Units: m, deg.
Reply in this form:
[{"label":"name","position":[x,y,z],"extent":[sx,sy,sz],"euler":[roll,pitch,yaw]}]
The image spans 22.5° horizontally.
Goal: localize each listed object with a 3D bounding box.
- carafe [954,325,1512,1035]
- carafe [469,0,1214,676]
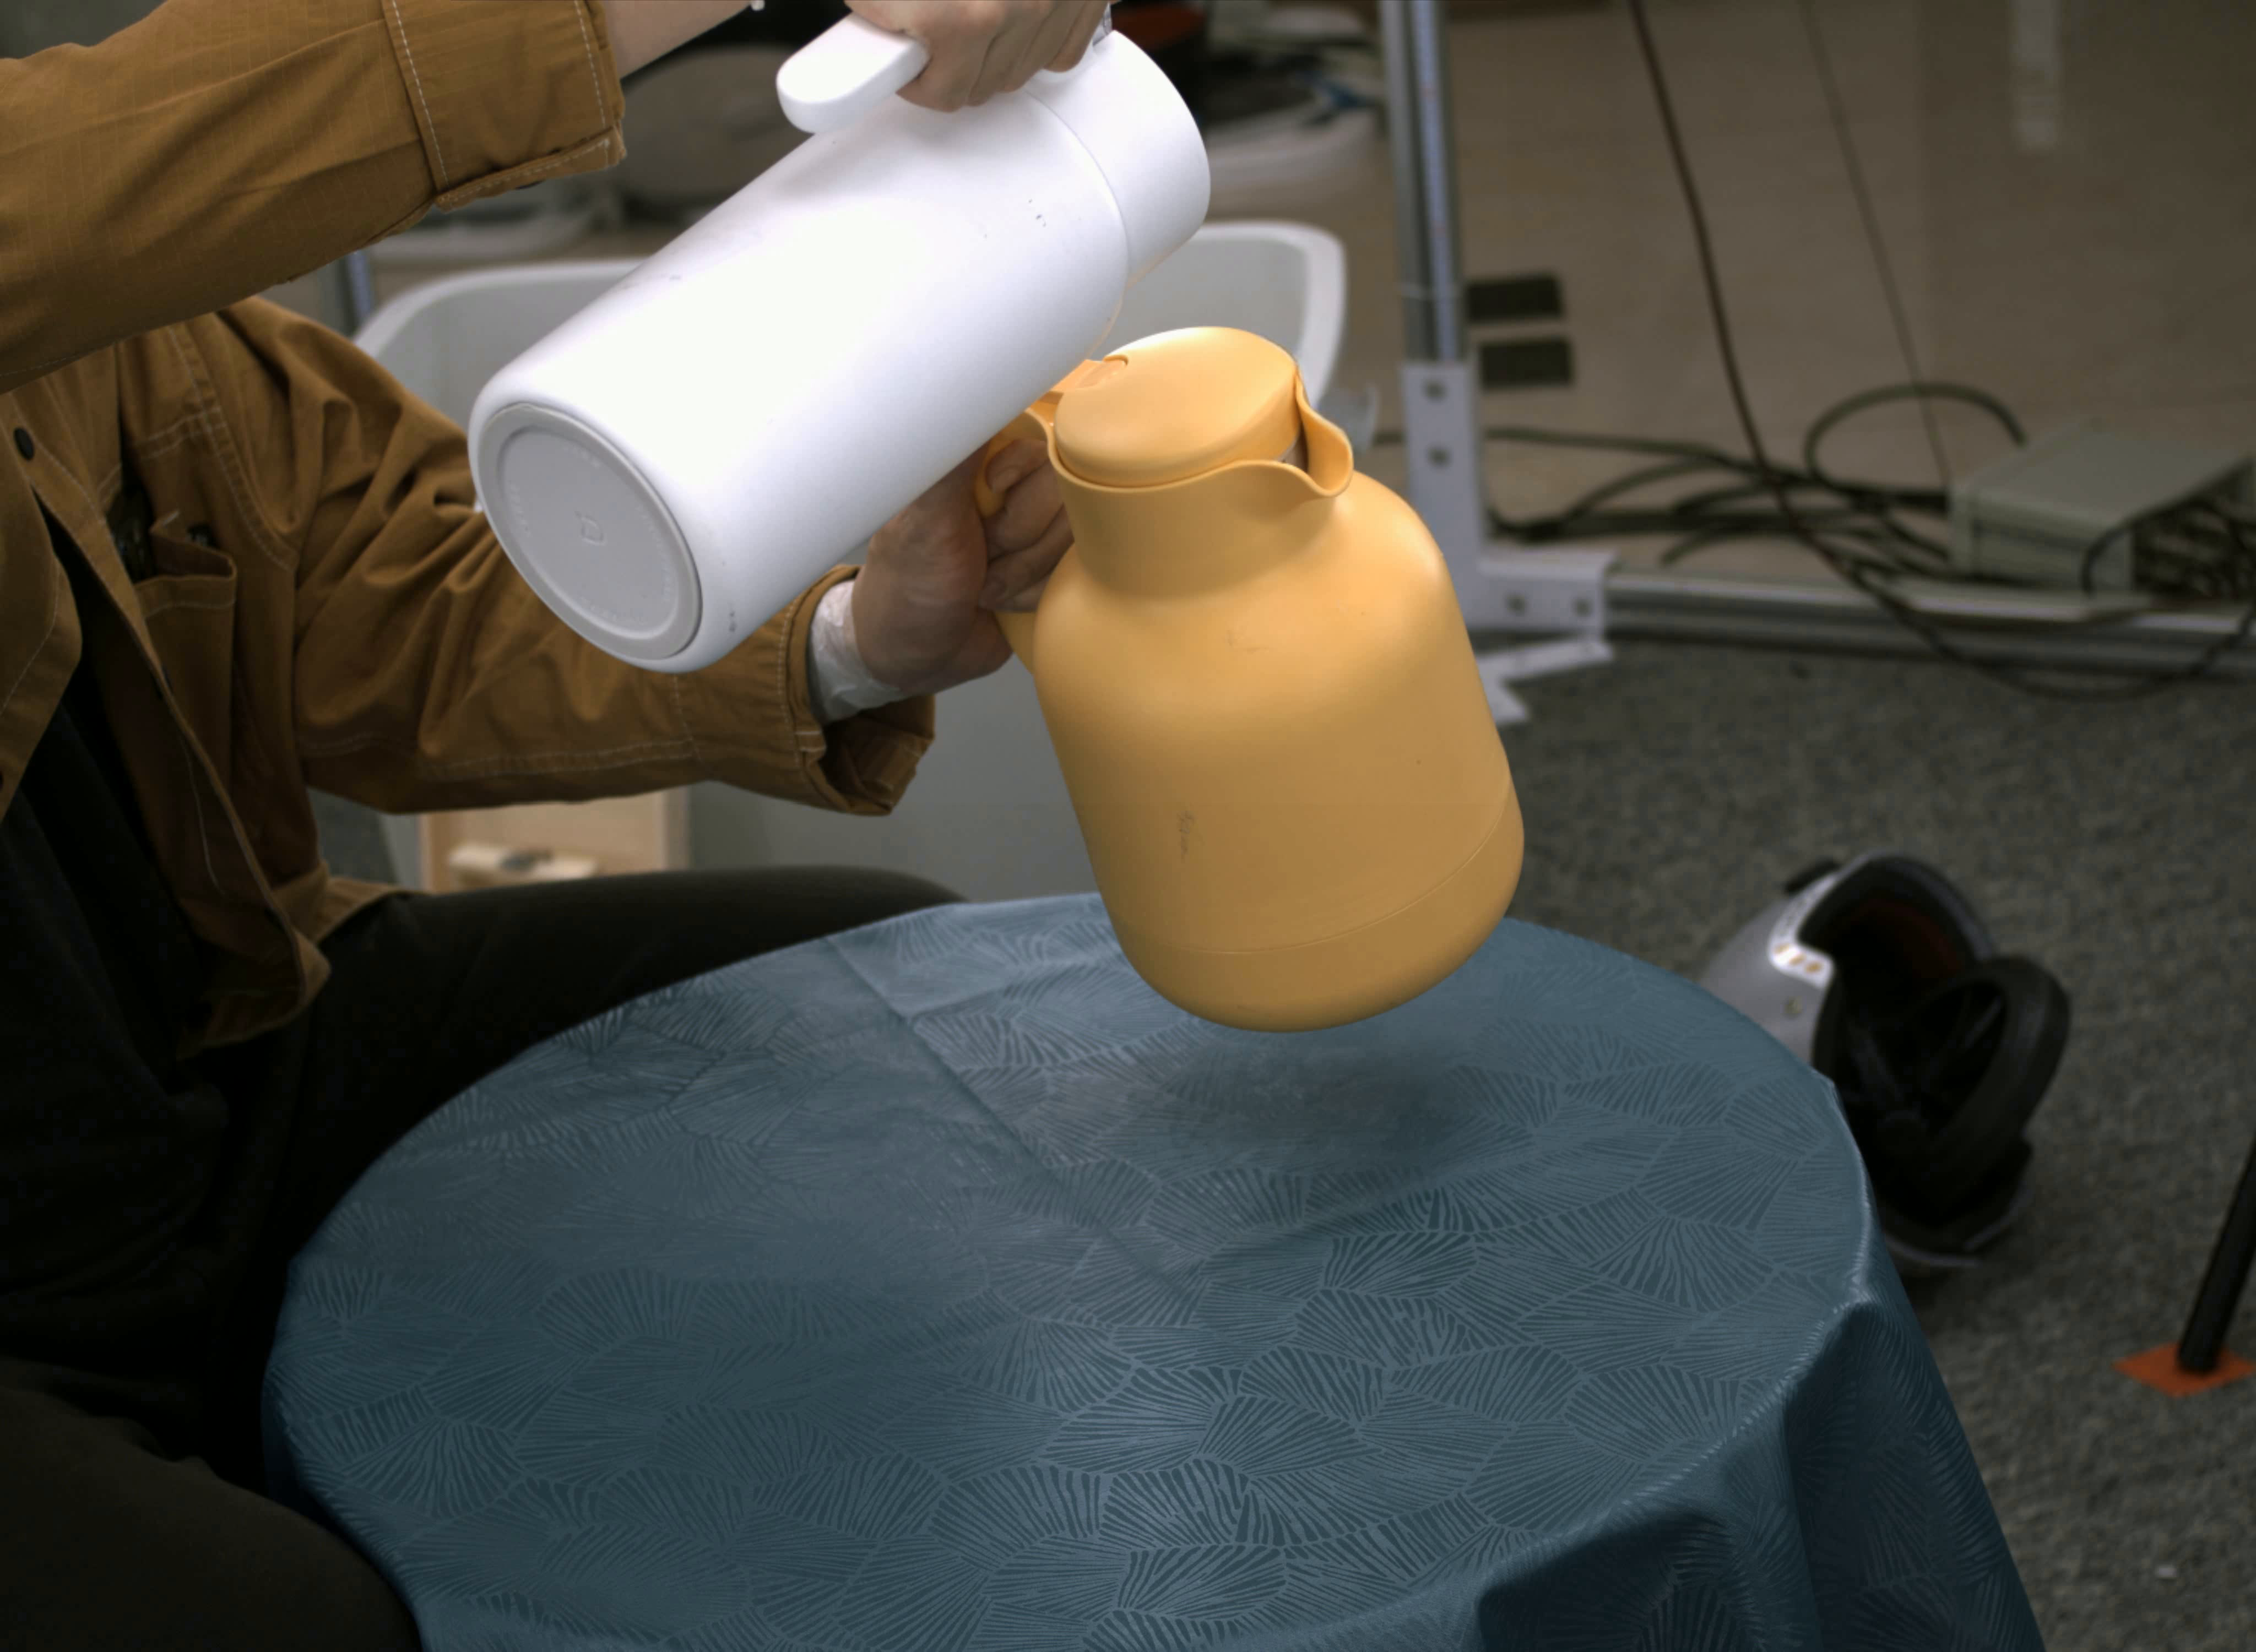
[{"label":"carafe","position":[0.032,-0.065,2.120],"extent":[0.201,0.265,0.162],"euler":[20,48,39]},{"label":"carafe","position":[-0.092,-0.180,1.882],"extent":[0.122,0.176,0.266],"euler":[31,55,29]}]
